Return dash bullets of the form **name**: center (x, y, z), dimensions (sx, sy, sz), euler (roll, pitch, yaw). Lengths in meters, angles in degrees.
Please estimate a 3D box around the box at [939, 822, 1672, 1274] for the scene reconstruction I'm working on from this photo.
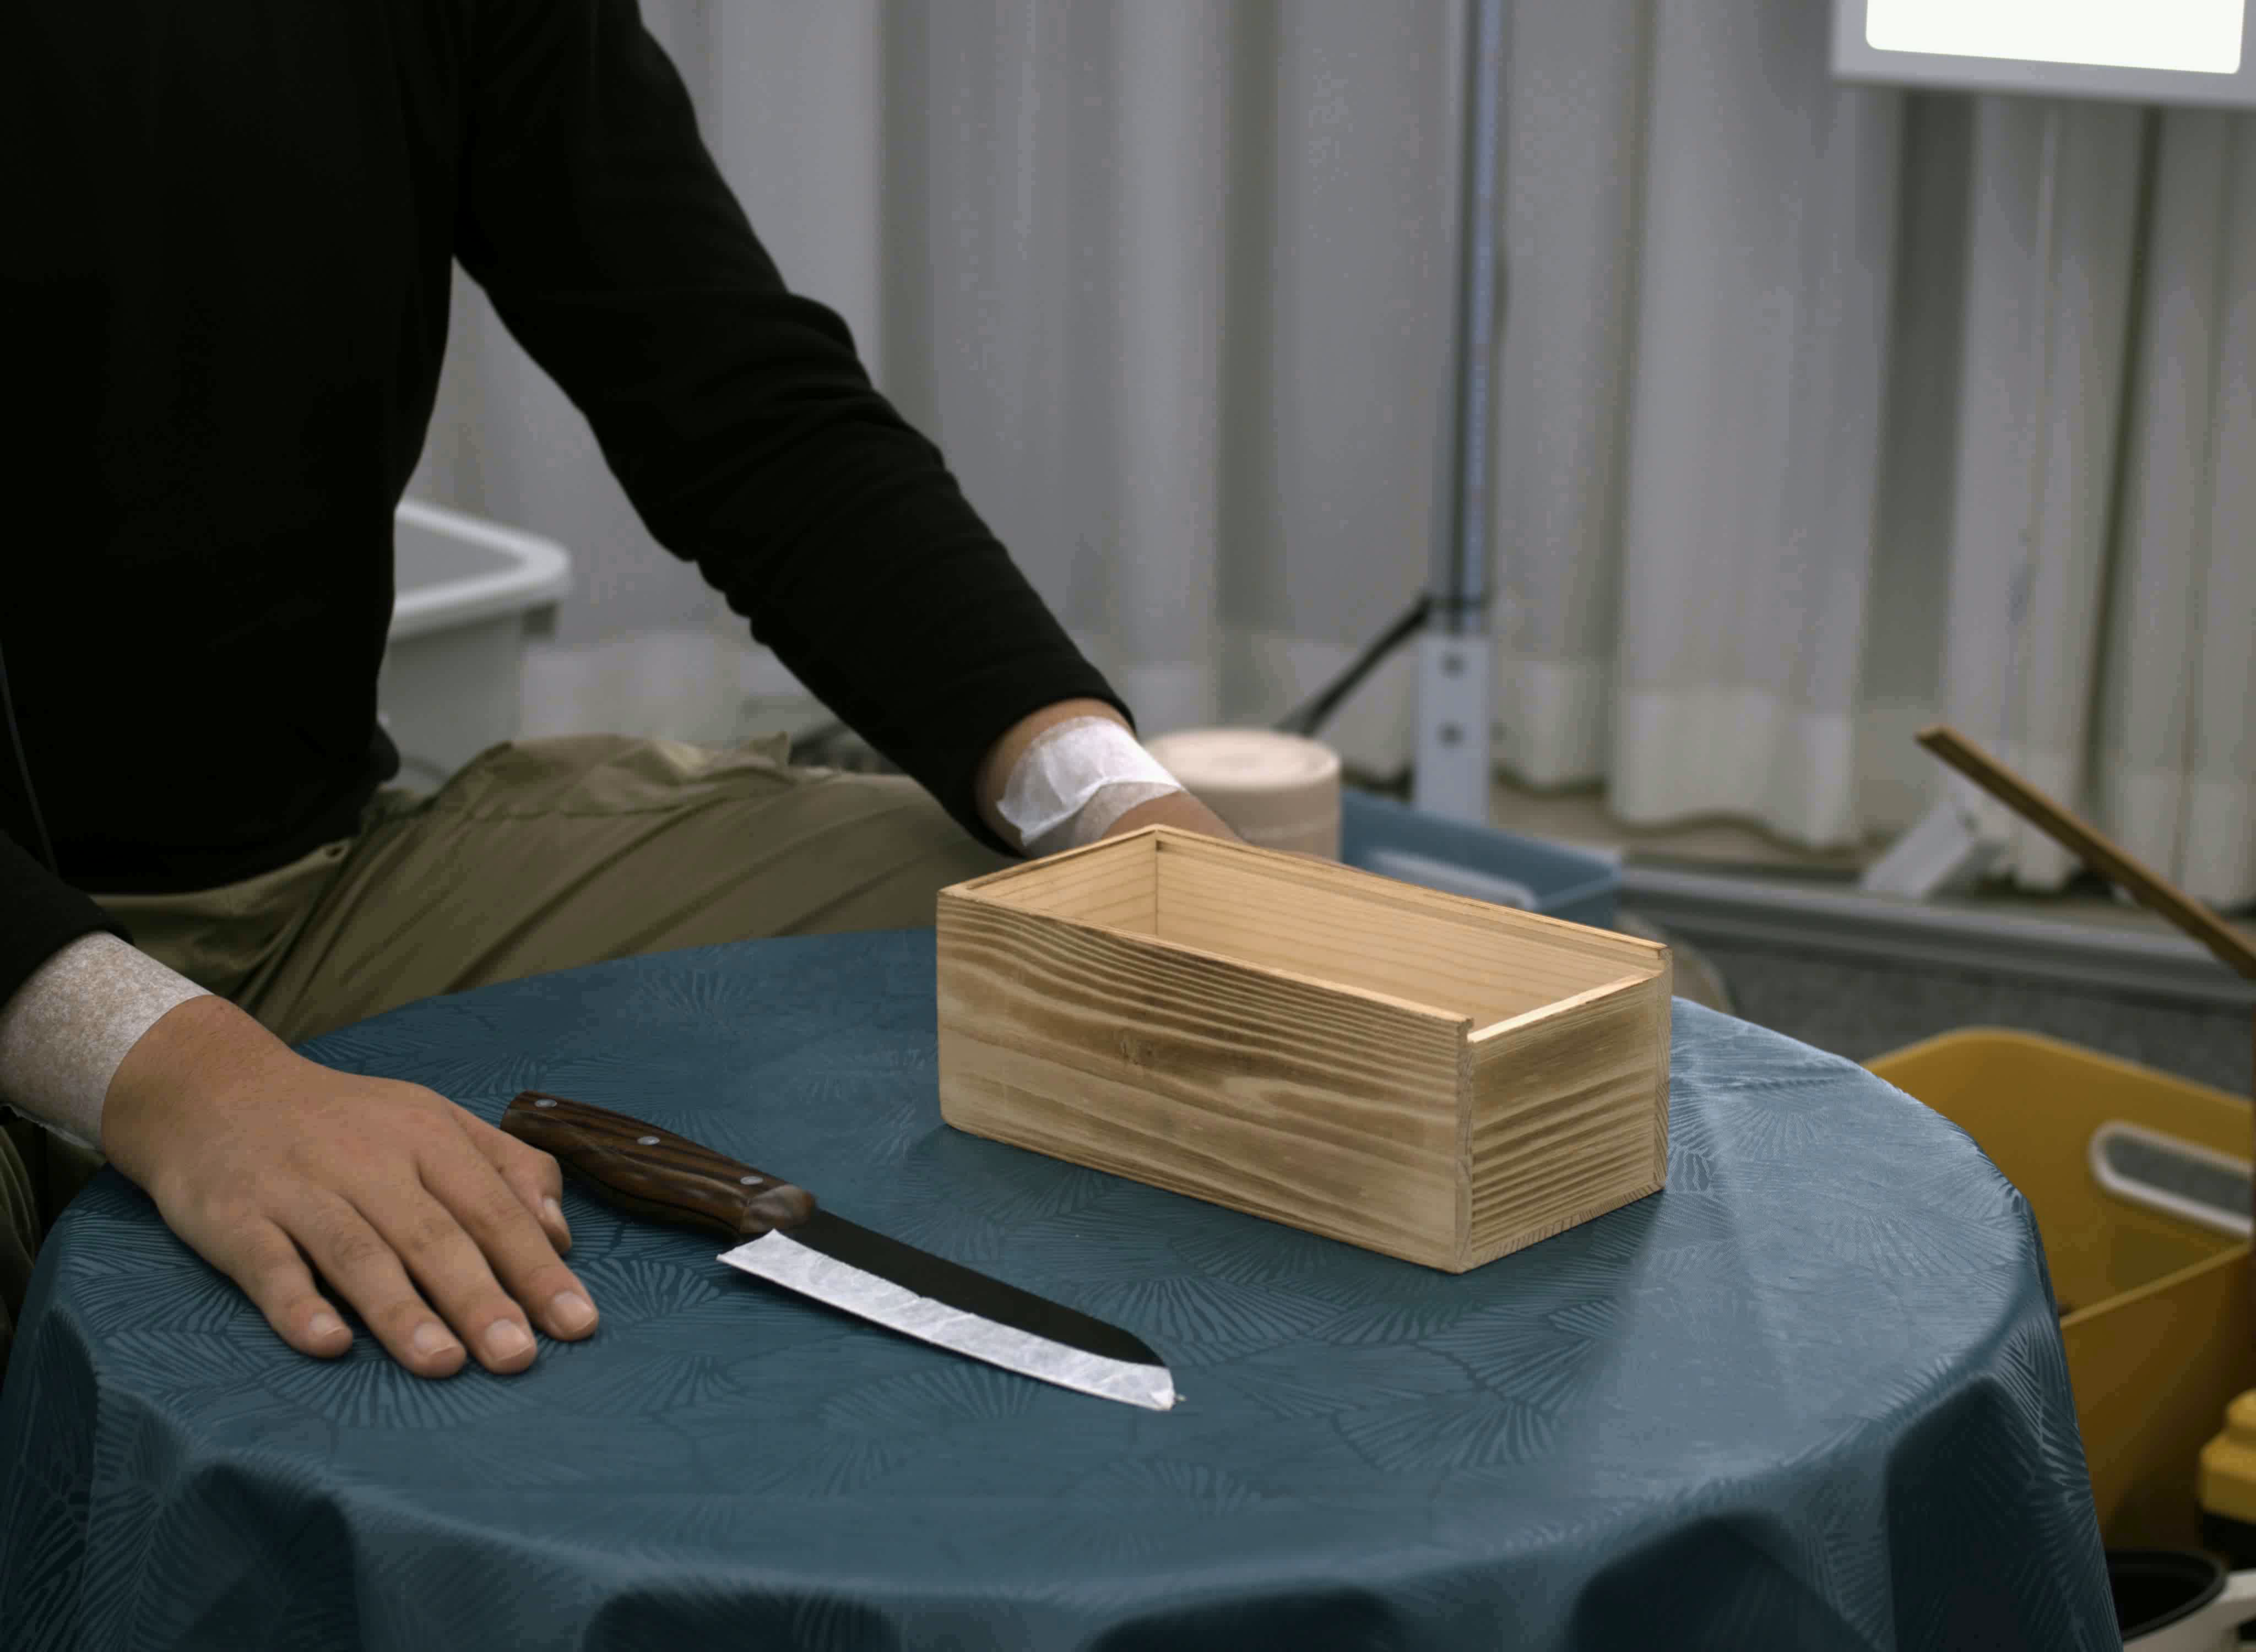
- **box**: center (0.053, 0.065, 1.643), dimensions (0.208, 0.081, 0.108), euler (14, 20, 39)

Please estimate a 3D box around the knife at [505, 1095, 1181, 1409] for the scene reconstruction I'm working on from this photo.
- **knife**: center (-0.088, 0.126, 1.543), dimensions (0.285, 0.020, 0.050), euler (18, 28, 41)
